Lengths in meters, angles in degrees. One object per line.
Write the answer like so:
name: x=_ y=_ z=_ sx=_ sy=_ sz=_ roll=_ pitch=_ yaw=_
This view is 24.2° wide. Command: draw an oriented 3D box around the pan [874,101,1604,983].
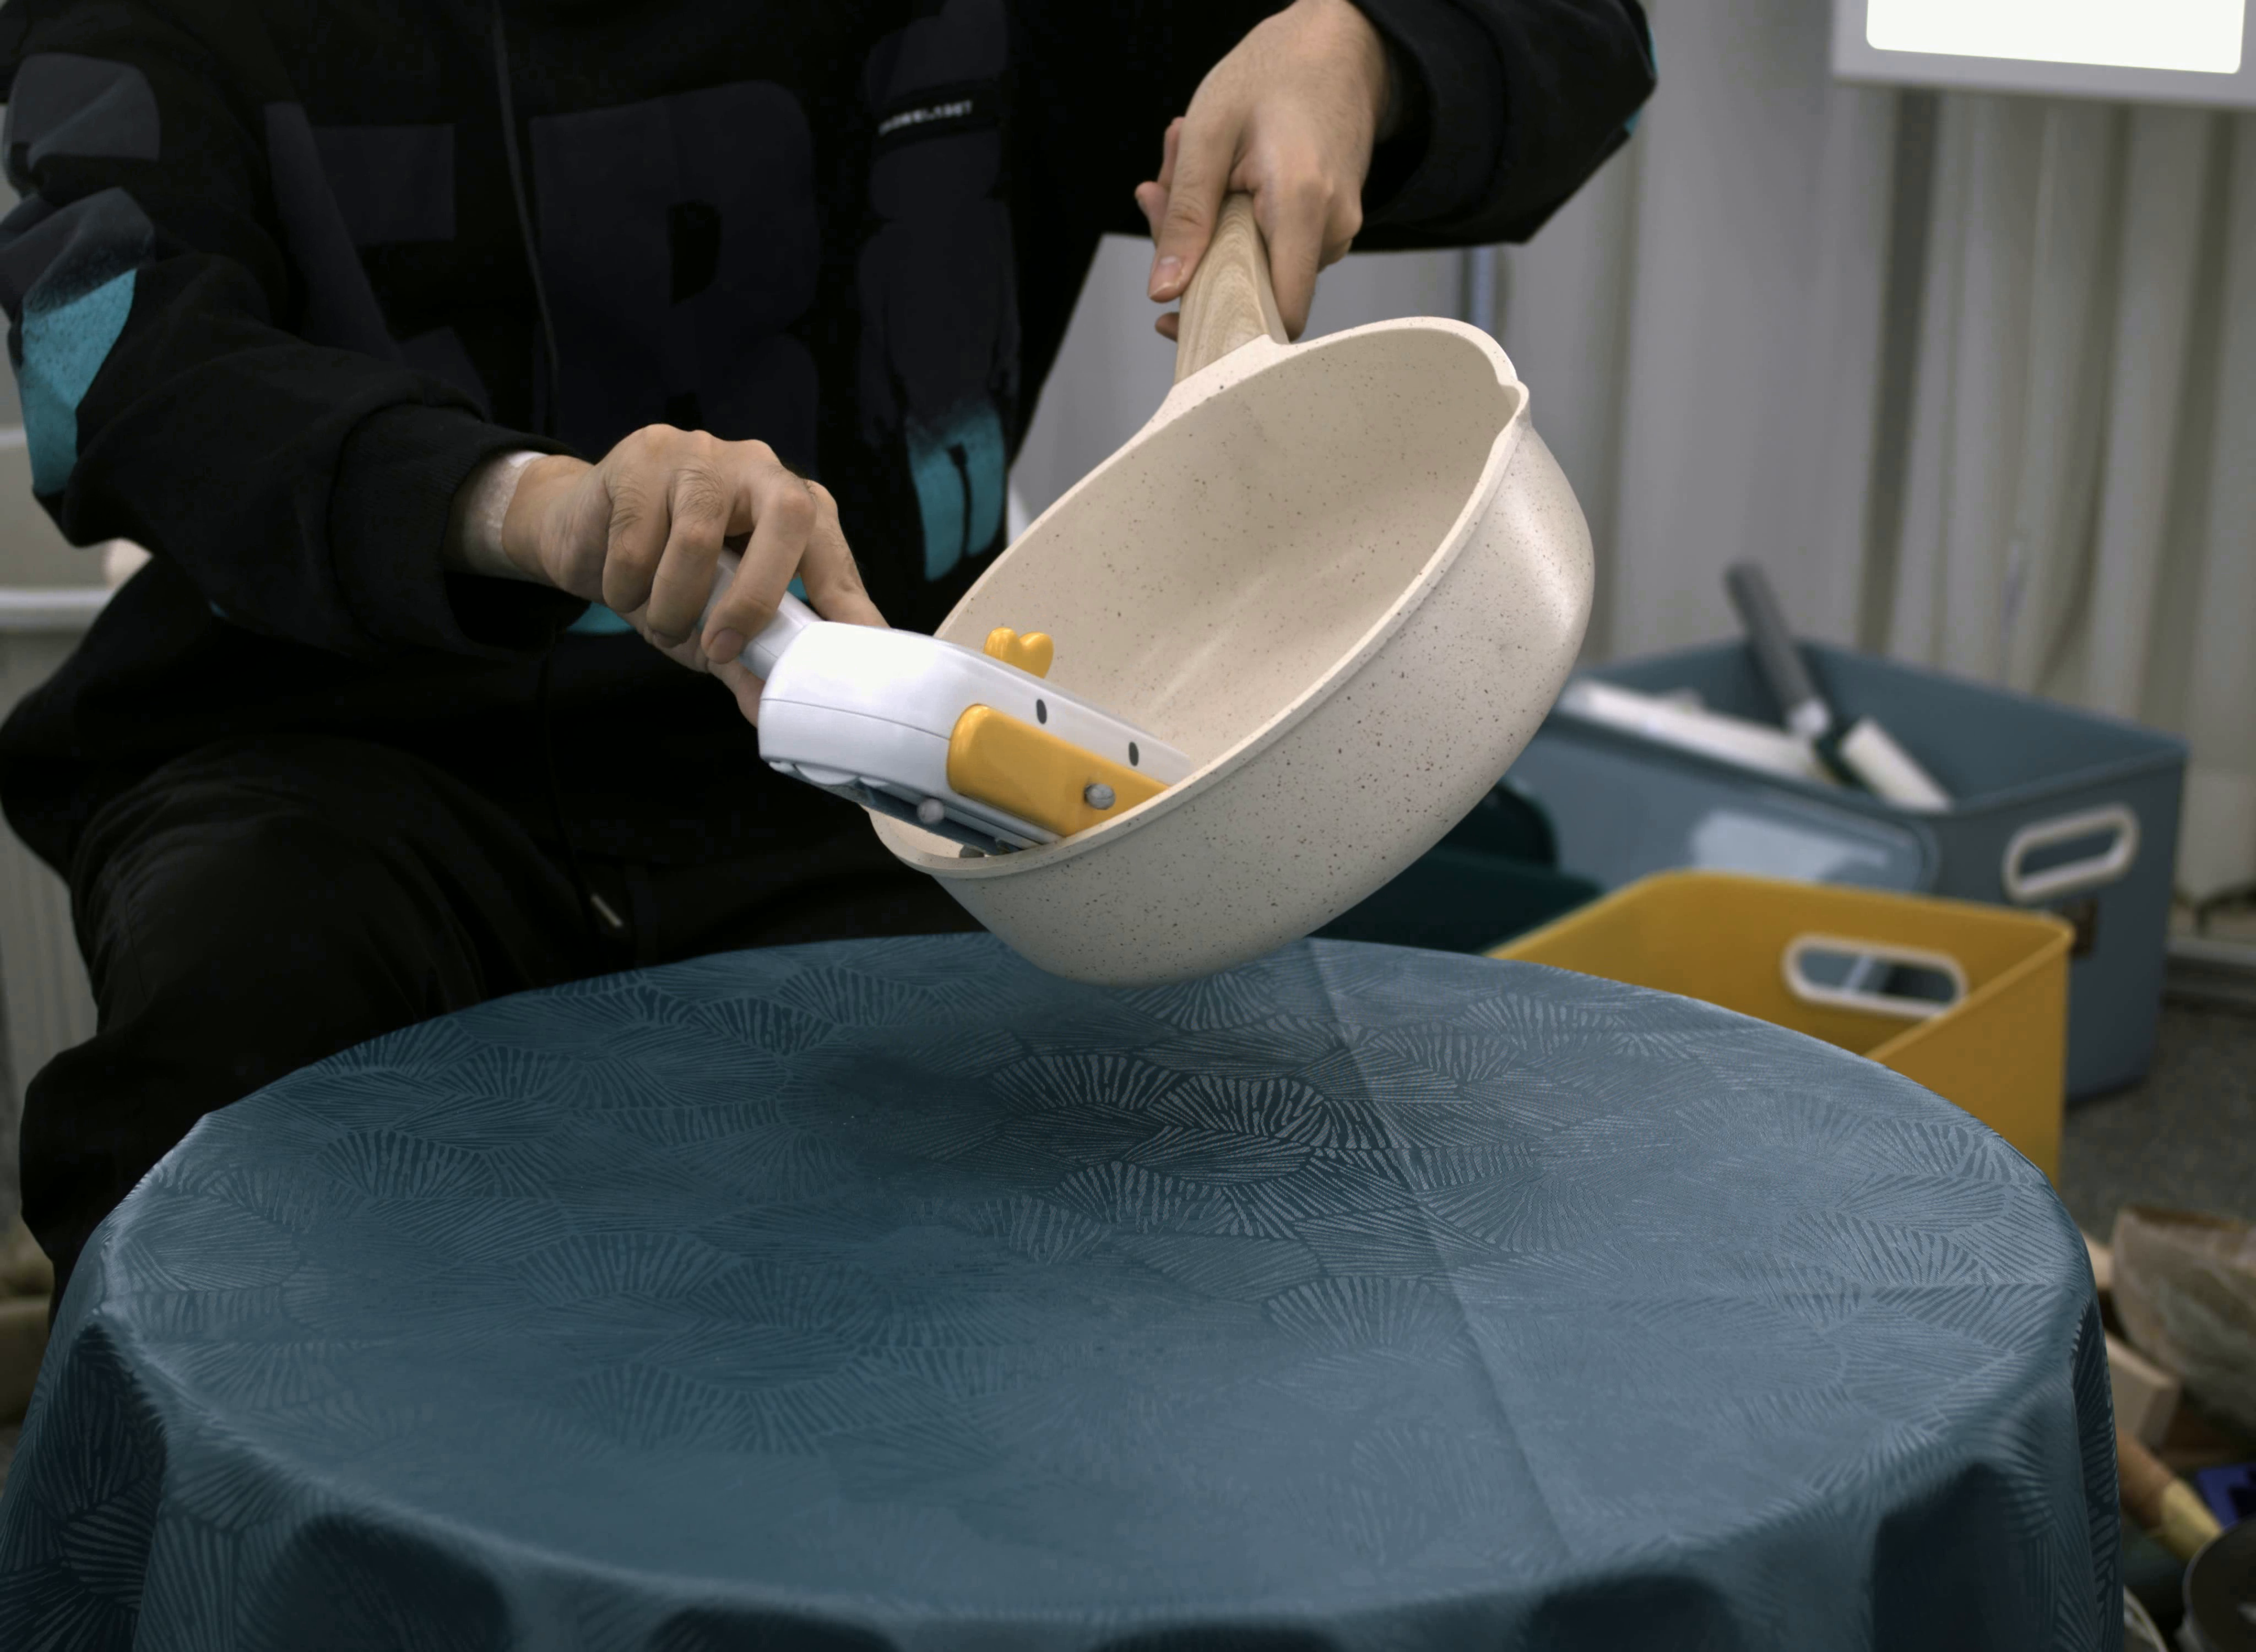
pan: x=0.047 y=-0.108 z=1.757 sx=0.262 sy=0.103 sz=0.431 roll=-31 pitch=26 yaw=24

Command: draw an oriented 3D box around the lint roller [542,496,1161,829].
lint roller: x=-0.109 y=-0.053 z=1.625 sx=0.190 sy=0.074 sz=0.194 roll=19 pitch=10 yaw=36
